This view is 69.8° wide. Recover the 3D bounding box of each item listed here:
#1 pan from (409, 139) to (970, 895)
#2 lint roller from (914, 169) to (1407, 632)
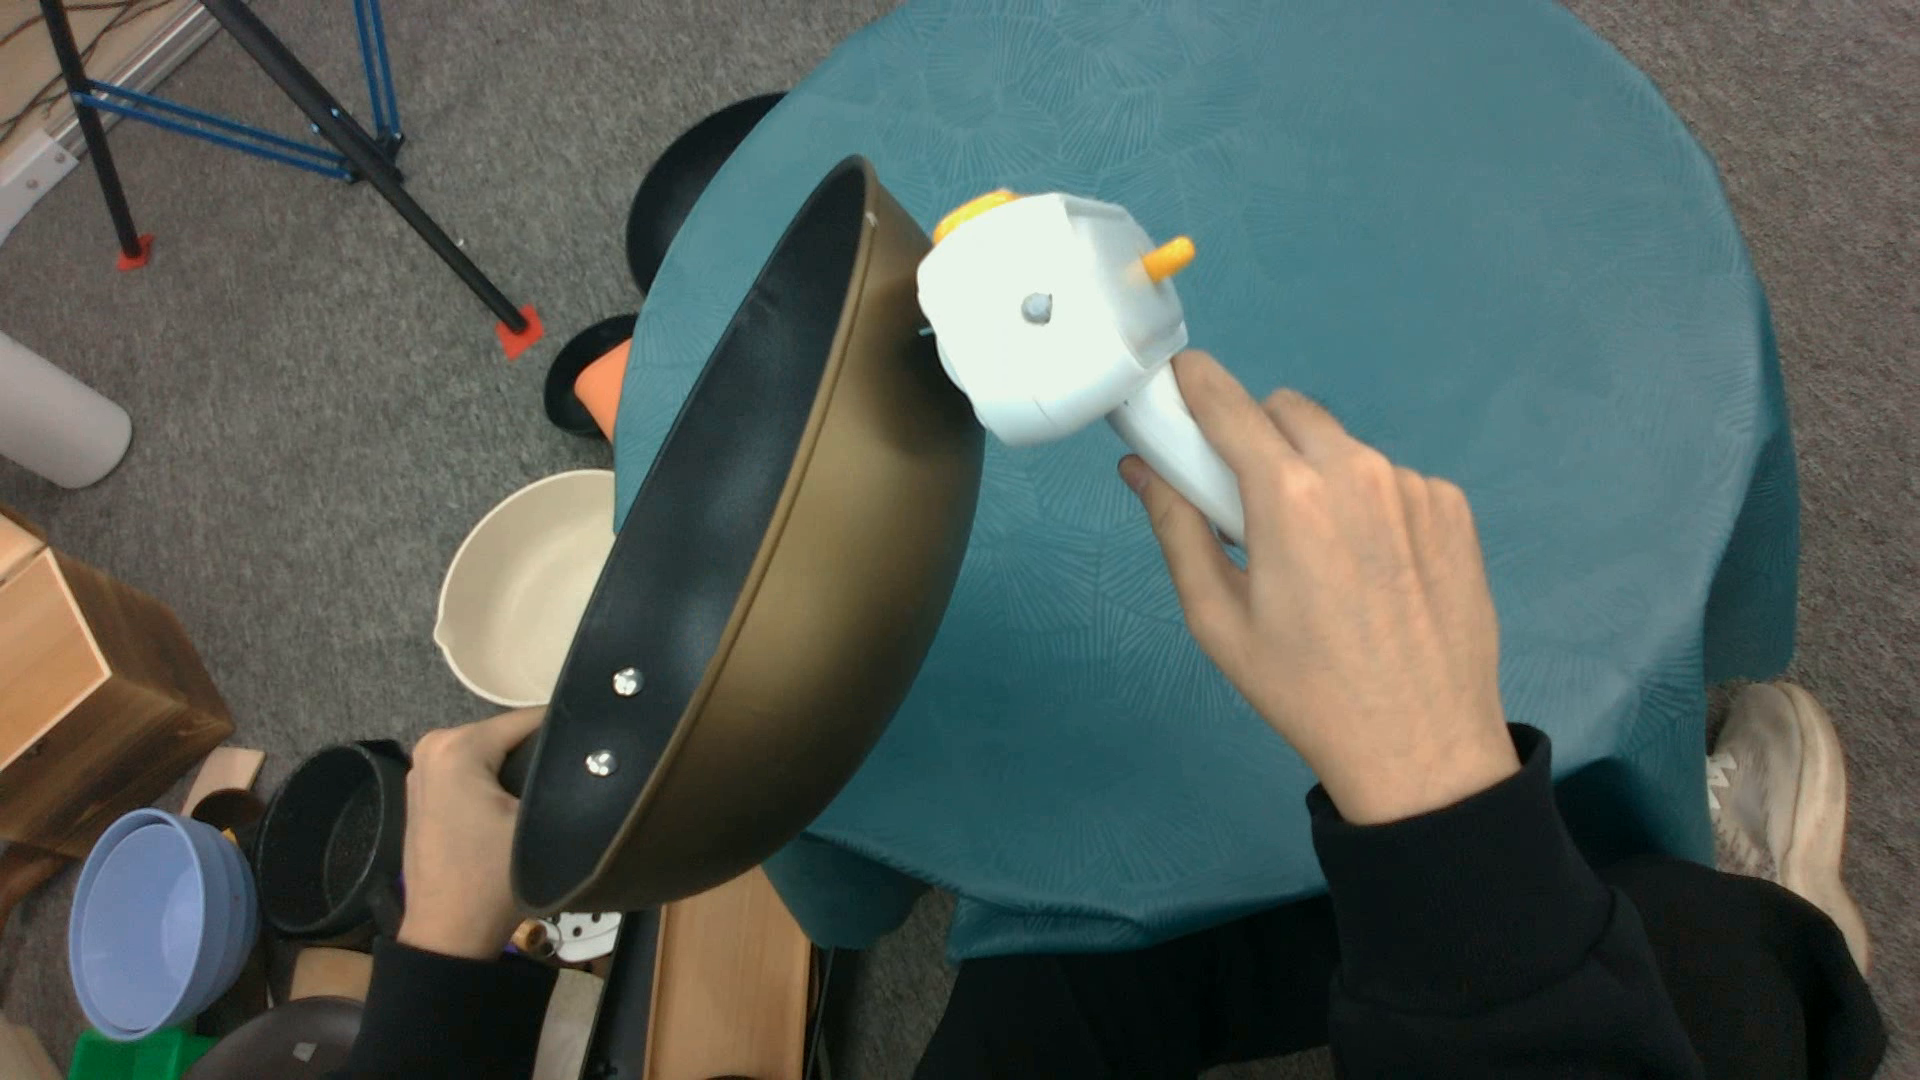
[{"bbox_3d":[-0.122,0.053,0.556,0.461,0.087,0.289,-47,27,38],"label":"pan"},{"bbox_3d":[0.070,-0.038,0.454,0.074,0.193,0.192,-35,96,13],"label":"lint roller"}]
